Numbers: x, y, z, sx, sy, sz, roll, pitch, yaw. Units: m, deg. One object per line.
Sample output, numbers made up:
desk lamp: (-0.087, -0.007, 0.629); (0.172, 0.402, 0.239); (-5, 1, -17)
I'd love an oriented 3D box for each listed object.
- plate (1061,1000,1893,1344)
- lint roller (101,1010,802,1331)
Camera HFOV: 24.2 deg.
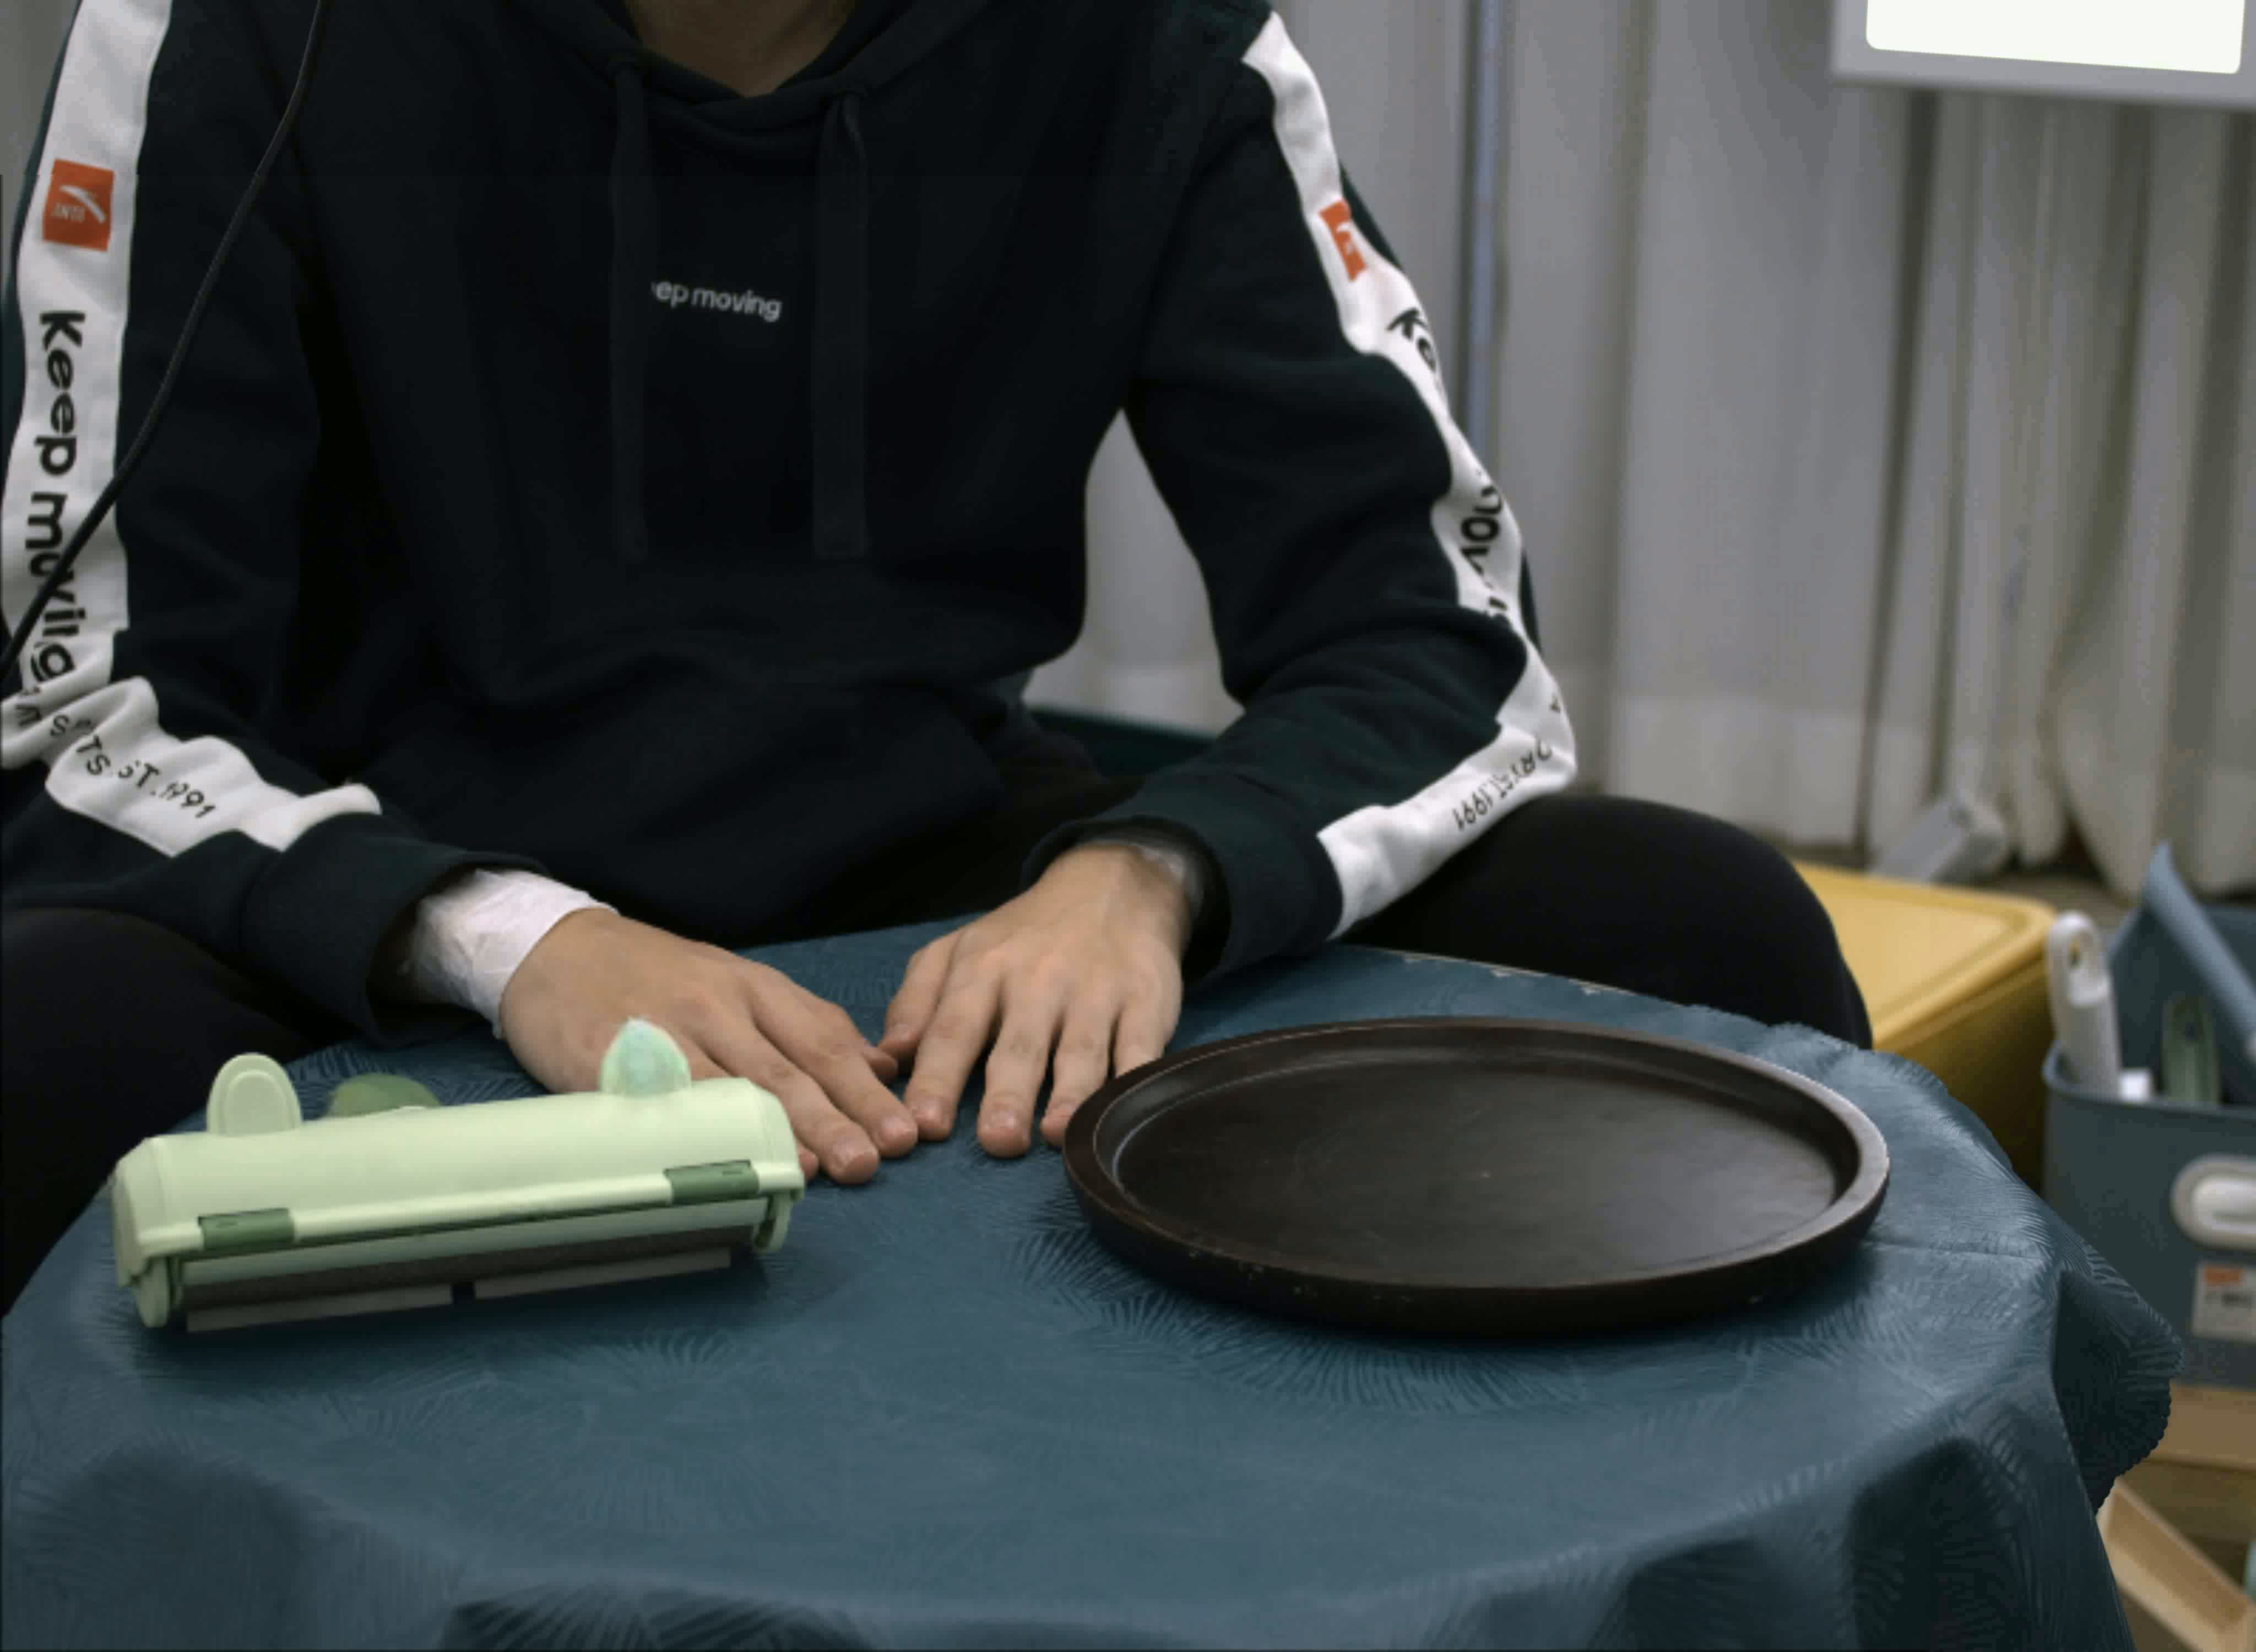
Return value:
plate: (0.105, 0.105, 1.602); (0.254, 0.029, 0.253); (-1, 16, 1)
lint roller: (-0.213, 0.084, 1.565); (0.199, 0.083, 0.181); (-5, 20, -20)
